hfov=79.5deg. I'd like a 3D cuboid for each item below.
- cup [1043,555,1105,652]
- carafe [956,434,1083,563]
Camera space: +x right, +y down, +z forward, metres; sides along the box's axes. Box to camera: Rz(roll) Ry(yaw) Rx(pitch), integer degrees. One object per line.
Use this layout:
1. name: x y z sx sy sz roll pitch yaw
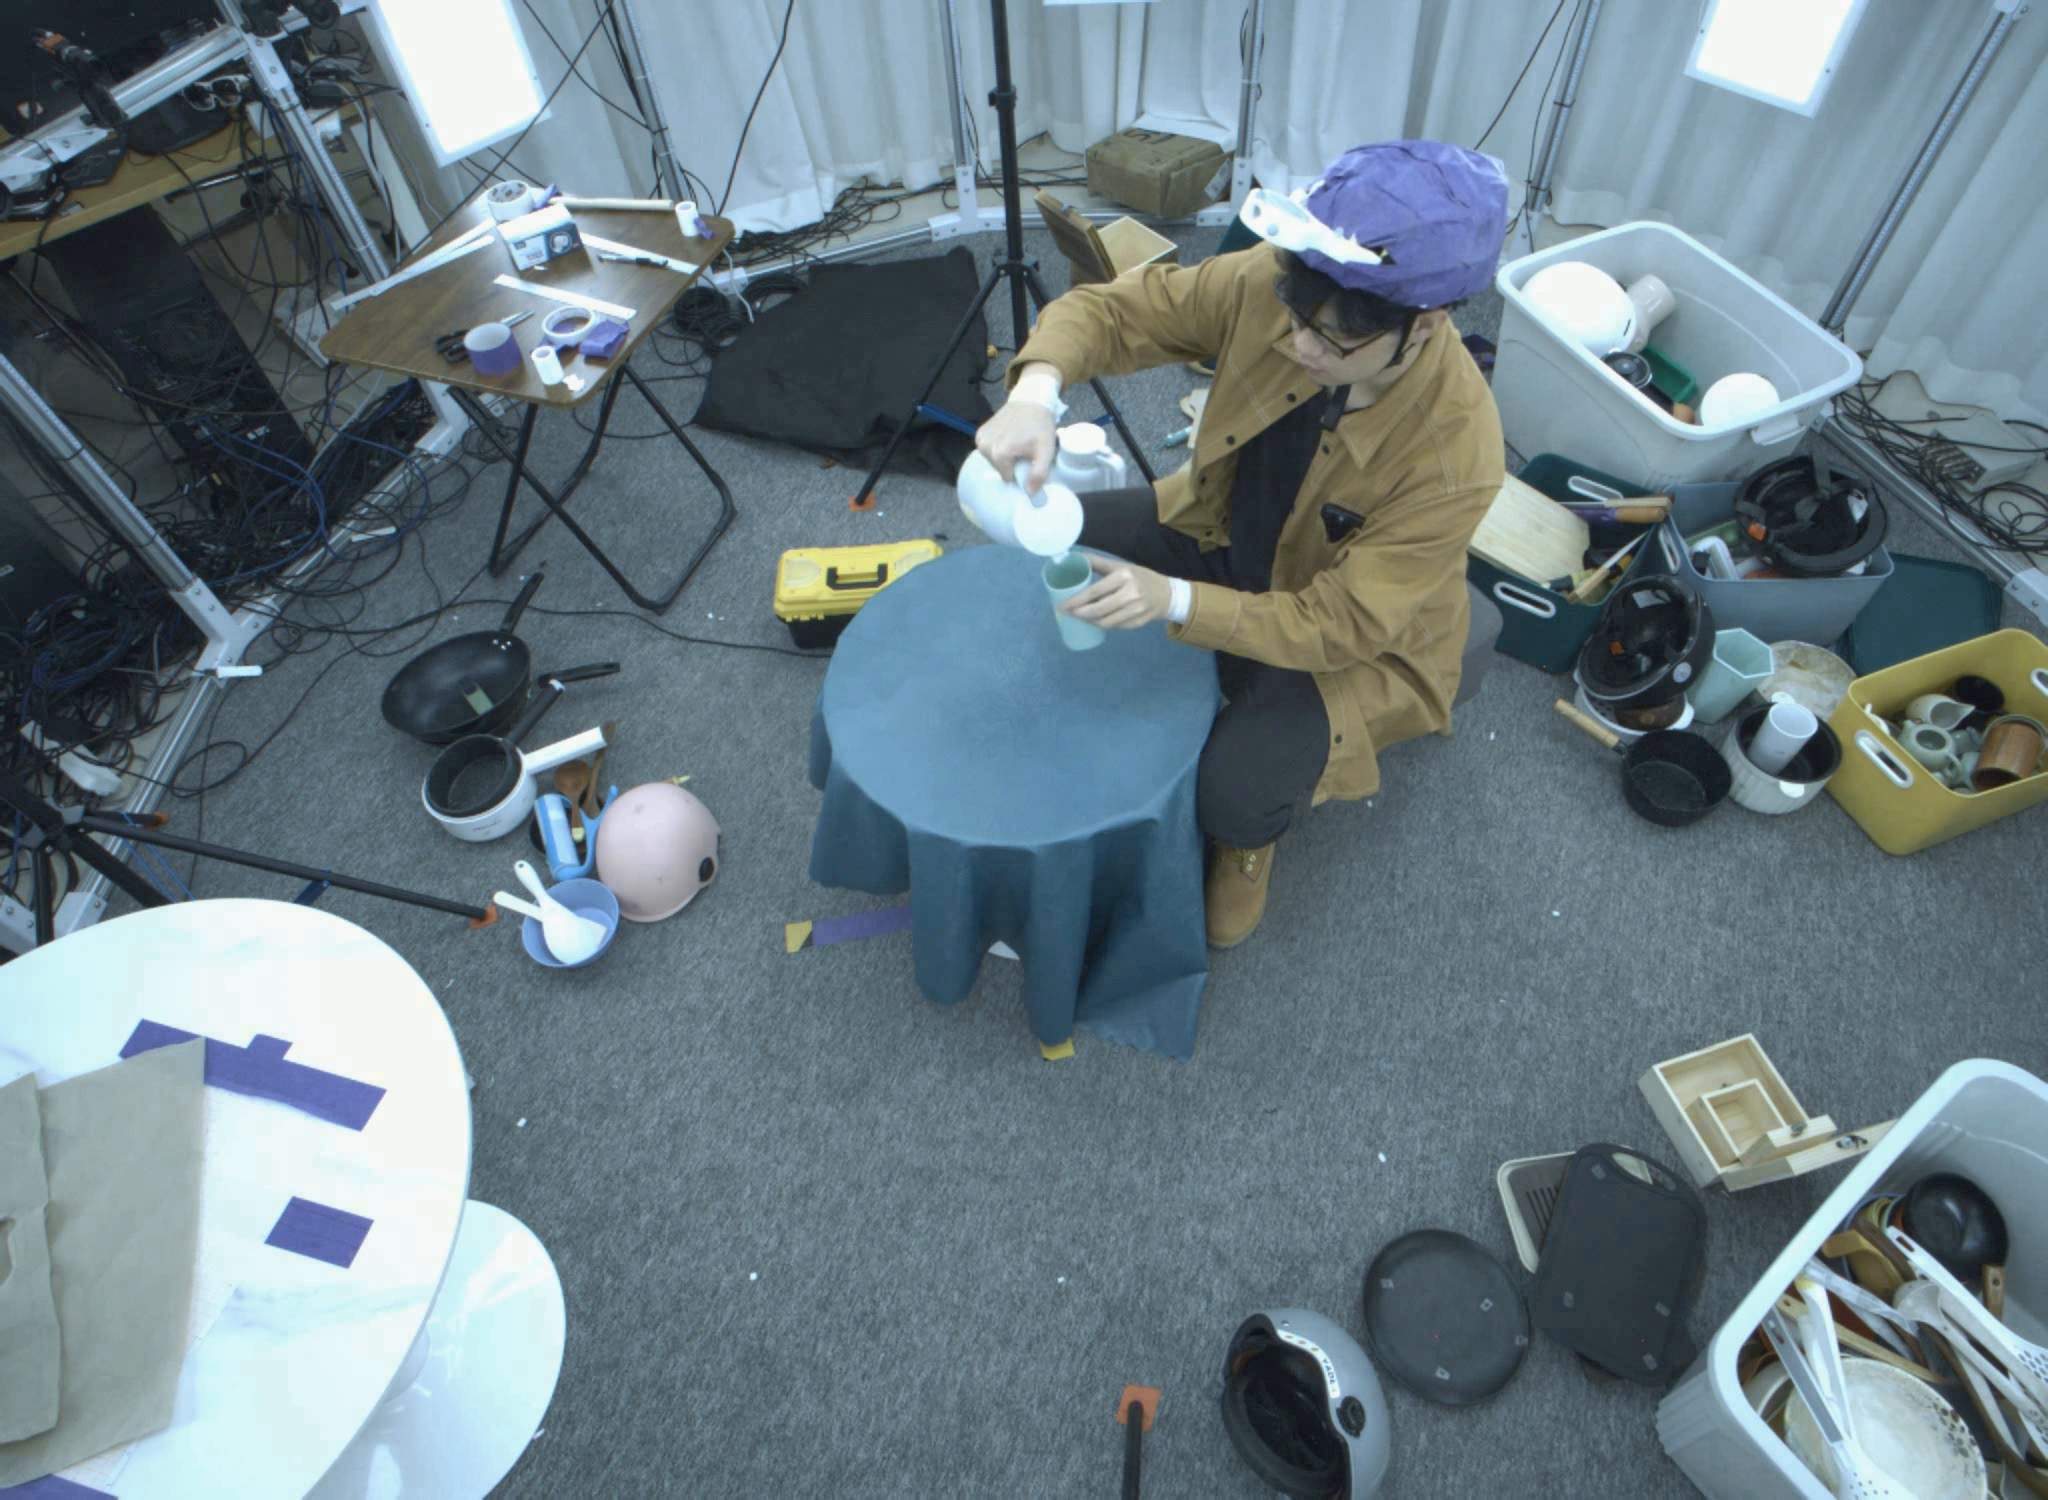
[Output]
1. cup: 0.069 -0.194 1.636 0.066 0.134 0.066 -5 59 10
2. carafe: -0.010 -0.346 1.627 0.133 0.170 0.244 -28 27 -4
